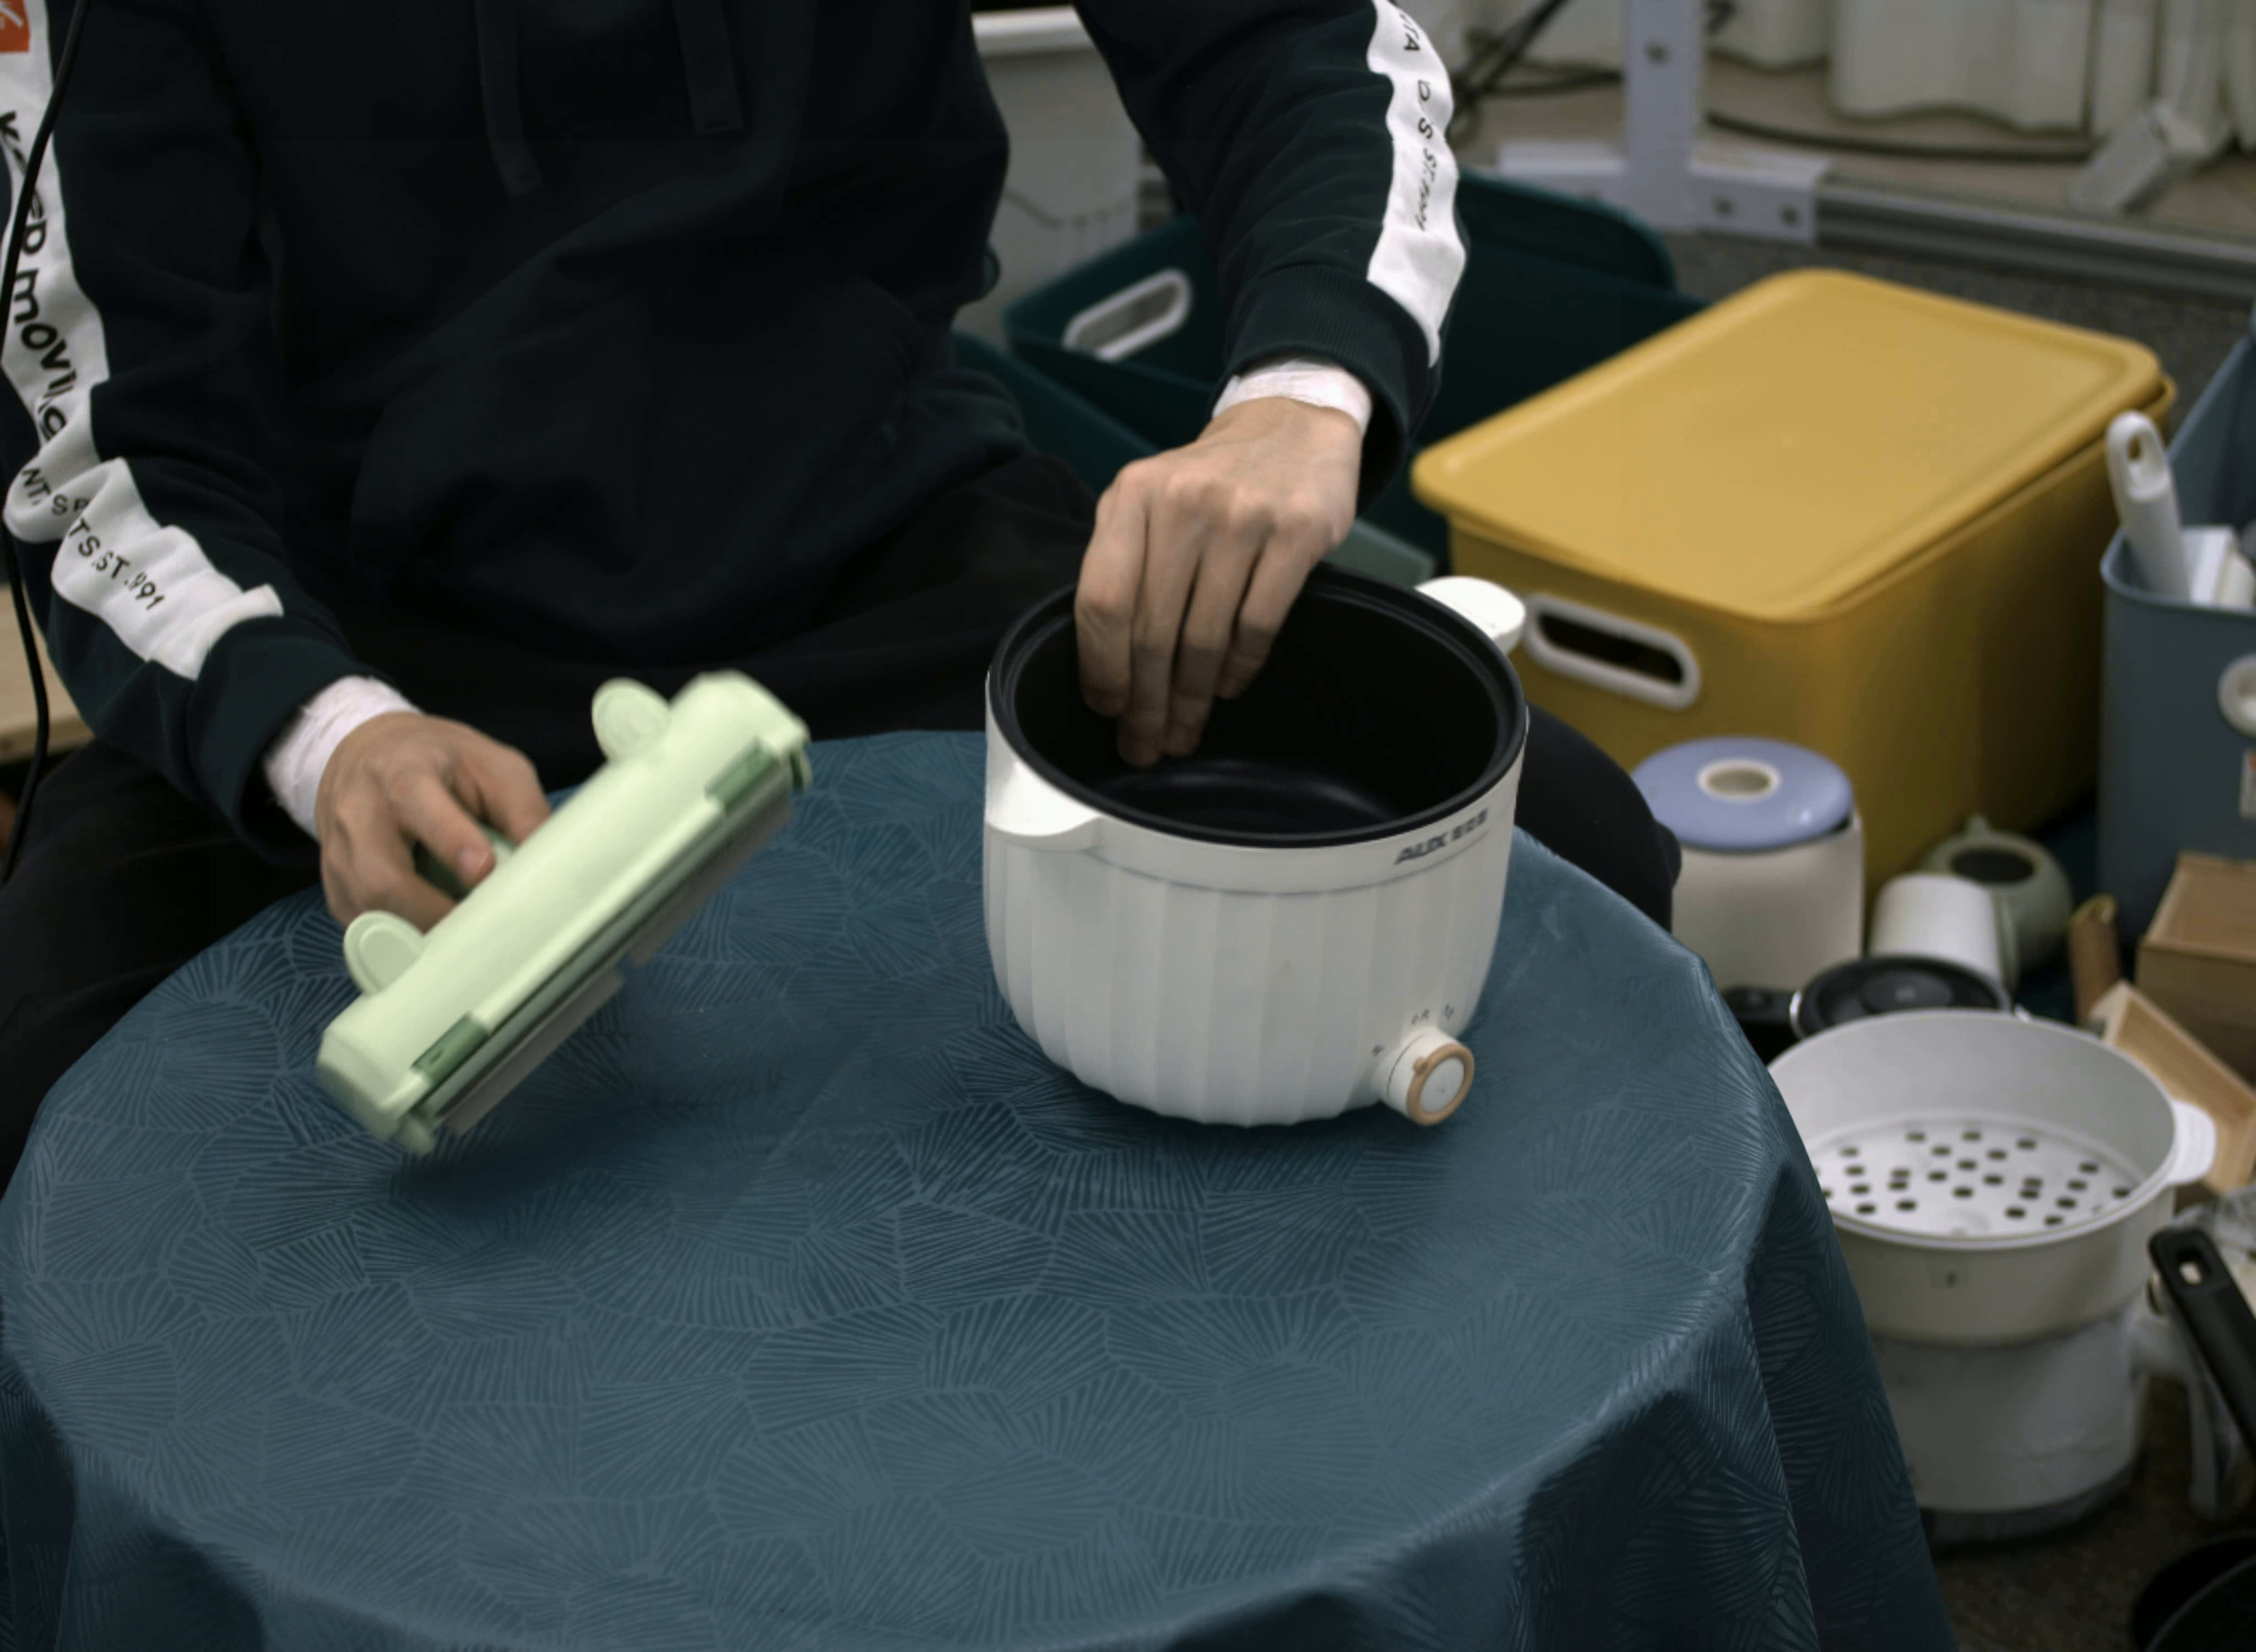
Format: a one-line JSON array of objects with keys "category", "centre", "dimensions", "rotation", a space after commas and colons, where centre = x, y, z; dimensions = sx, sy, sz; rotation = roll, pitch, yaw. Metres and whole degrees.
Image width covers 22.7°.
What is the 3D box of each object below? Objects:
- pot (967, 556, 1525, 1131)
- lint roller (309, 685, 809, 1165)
[{"category": "pot", "centre": [0.045, 0.013, 1.906], "dimensions": [0.243, 0.141, 0.190], "rotation": [-24, 38, -35]}, {"category": "lint roller", "centre": [-0.224, 0.013, 1.930], "dimensions": [0.200, 0.081, 0.183], "rotation": [-43, 35, -18]}]
